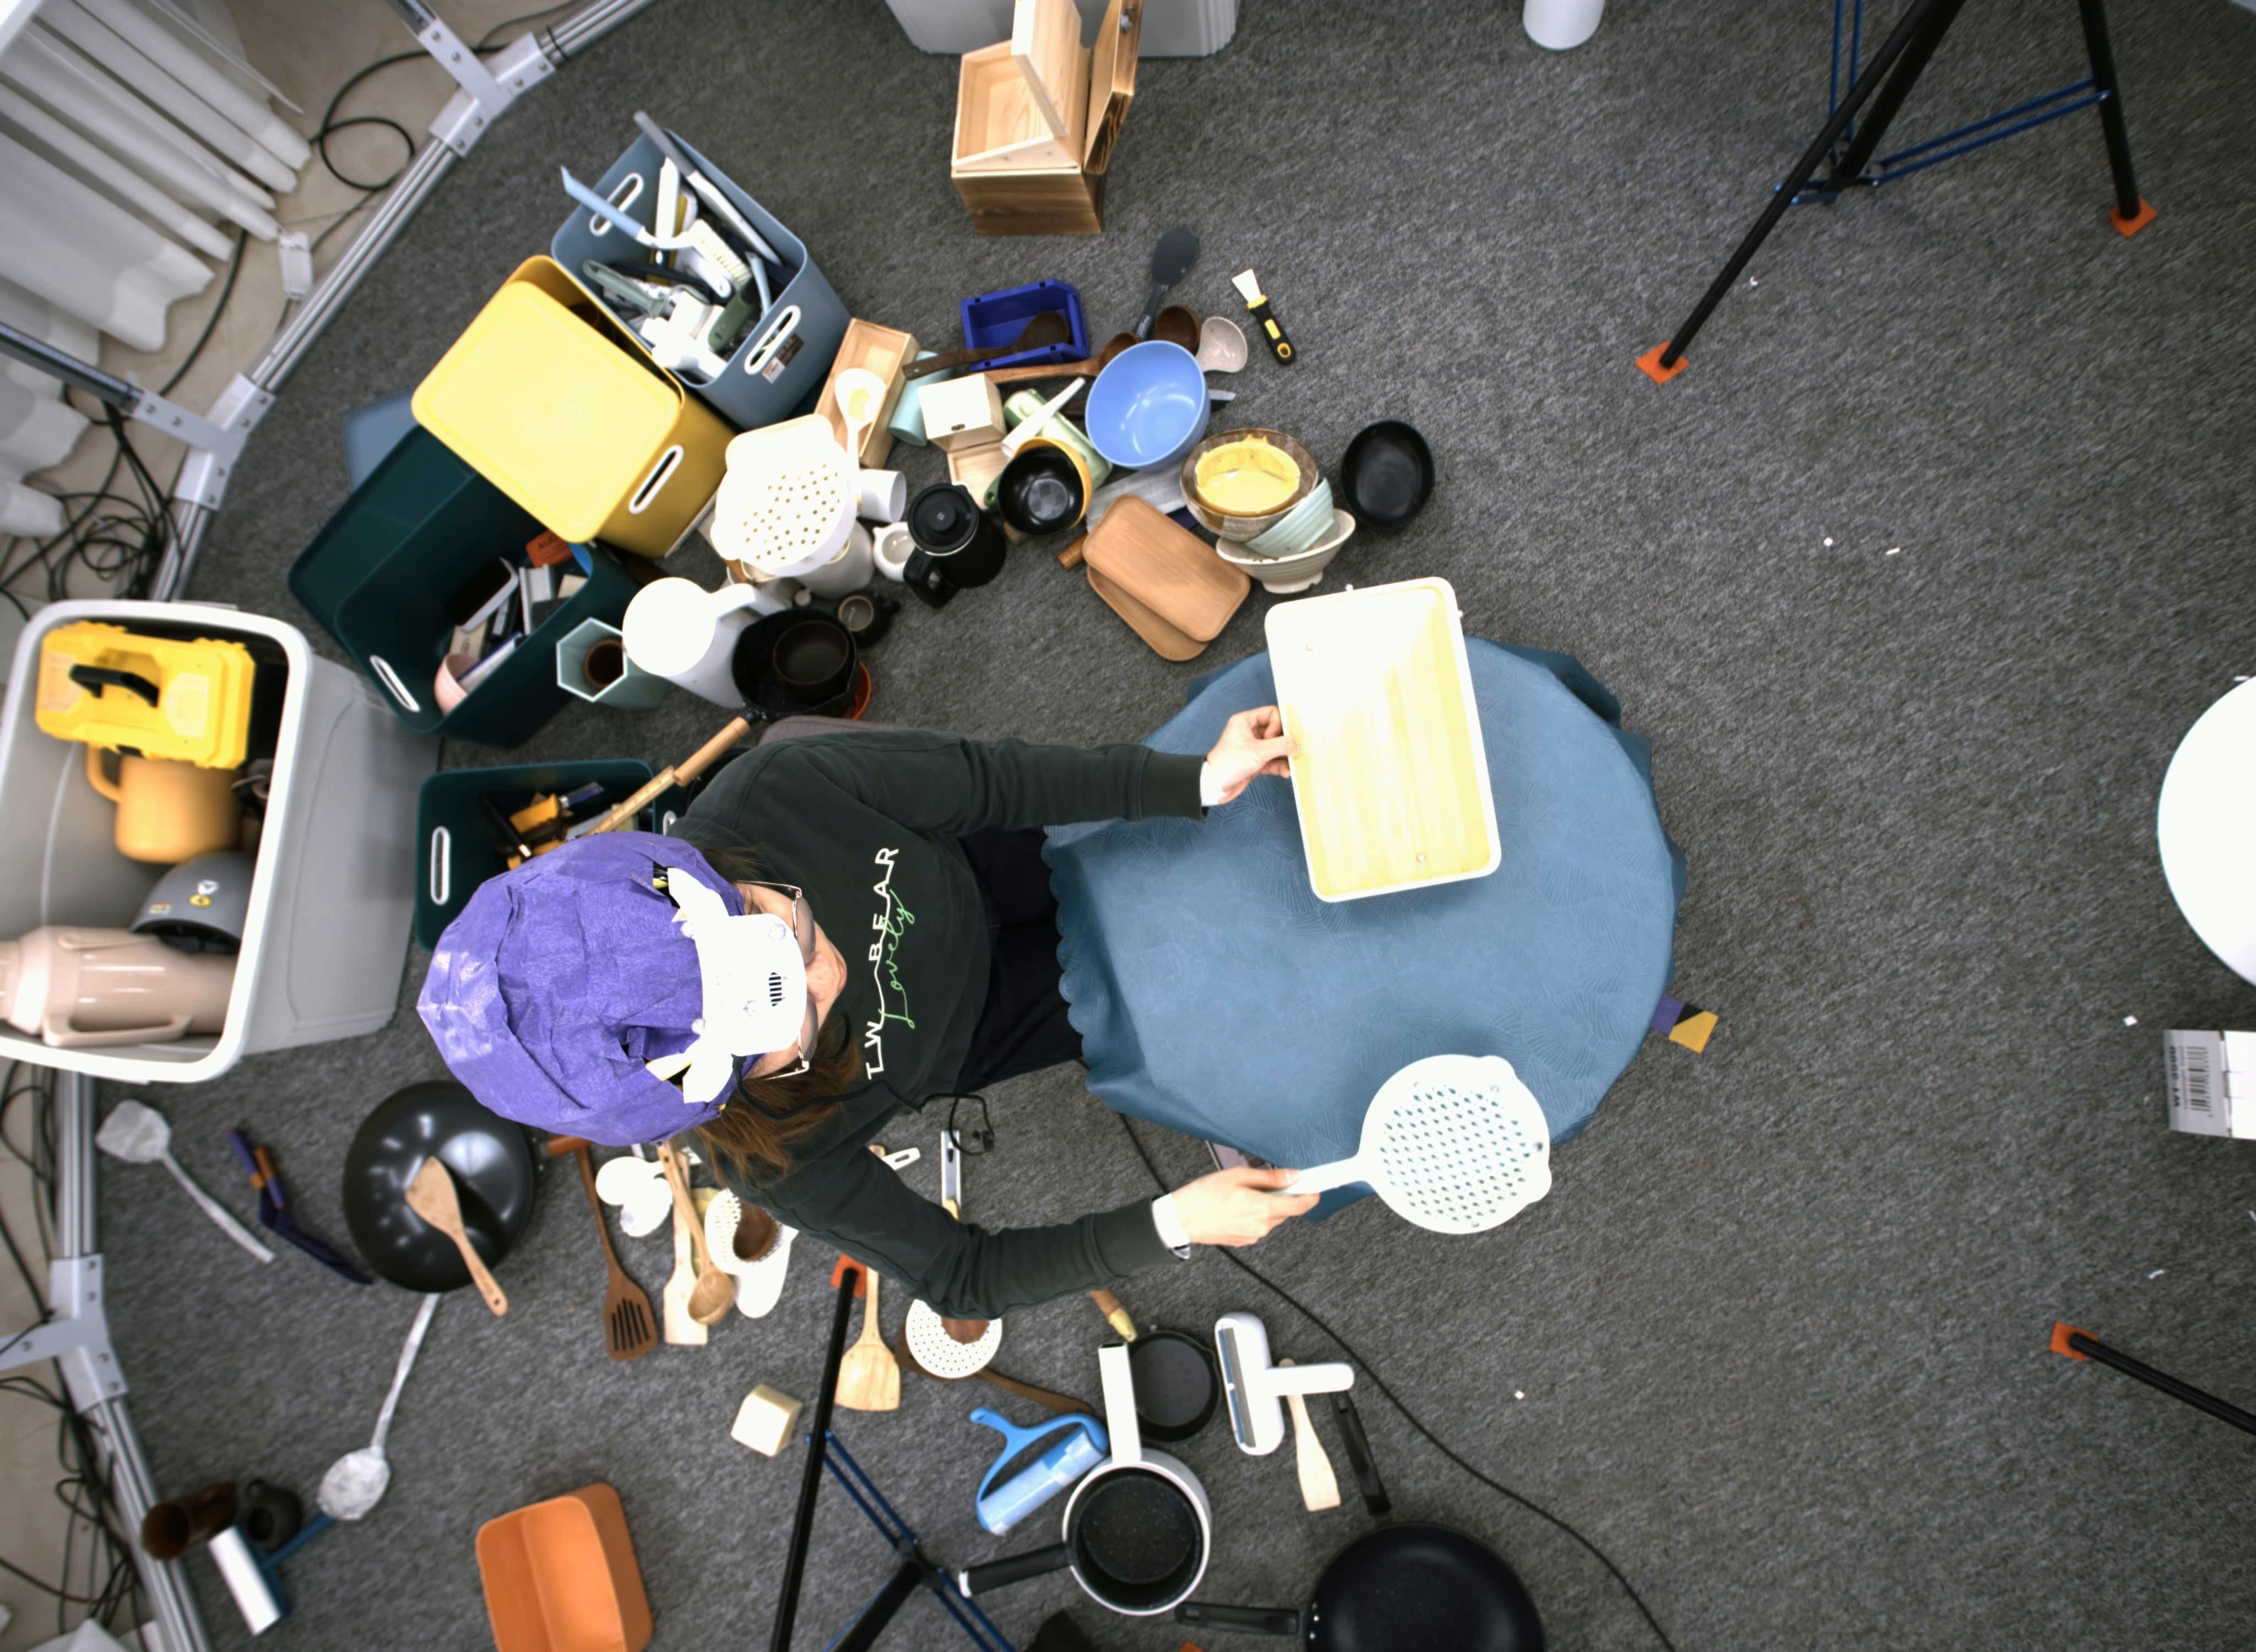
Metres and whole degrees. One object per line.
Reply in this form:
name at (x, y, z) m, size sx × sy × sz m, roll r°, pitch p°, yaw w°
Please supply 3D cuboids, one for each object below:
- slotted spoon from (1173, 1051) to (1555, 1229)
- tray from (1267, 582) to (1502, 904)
slotted spoon at (0.218, 0.321, 1.308) m, size 0.359 × 0.077 × 0.165 m, roll -12°, pitch 59°, yaw -2°
tray at (0.255, -0.083, 1.372) m, size 0.192 × 0.027 × 0.300 m, roll -9°, pitch 91°, yaw 2°
